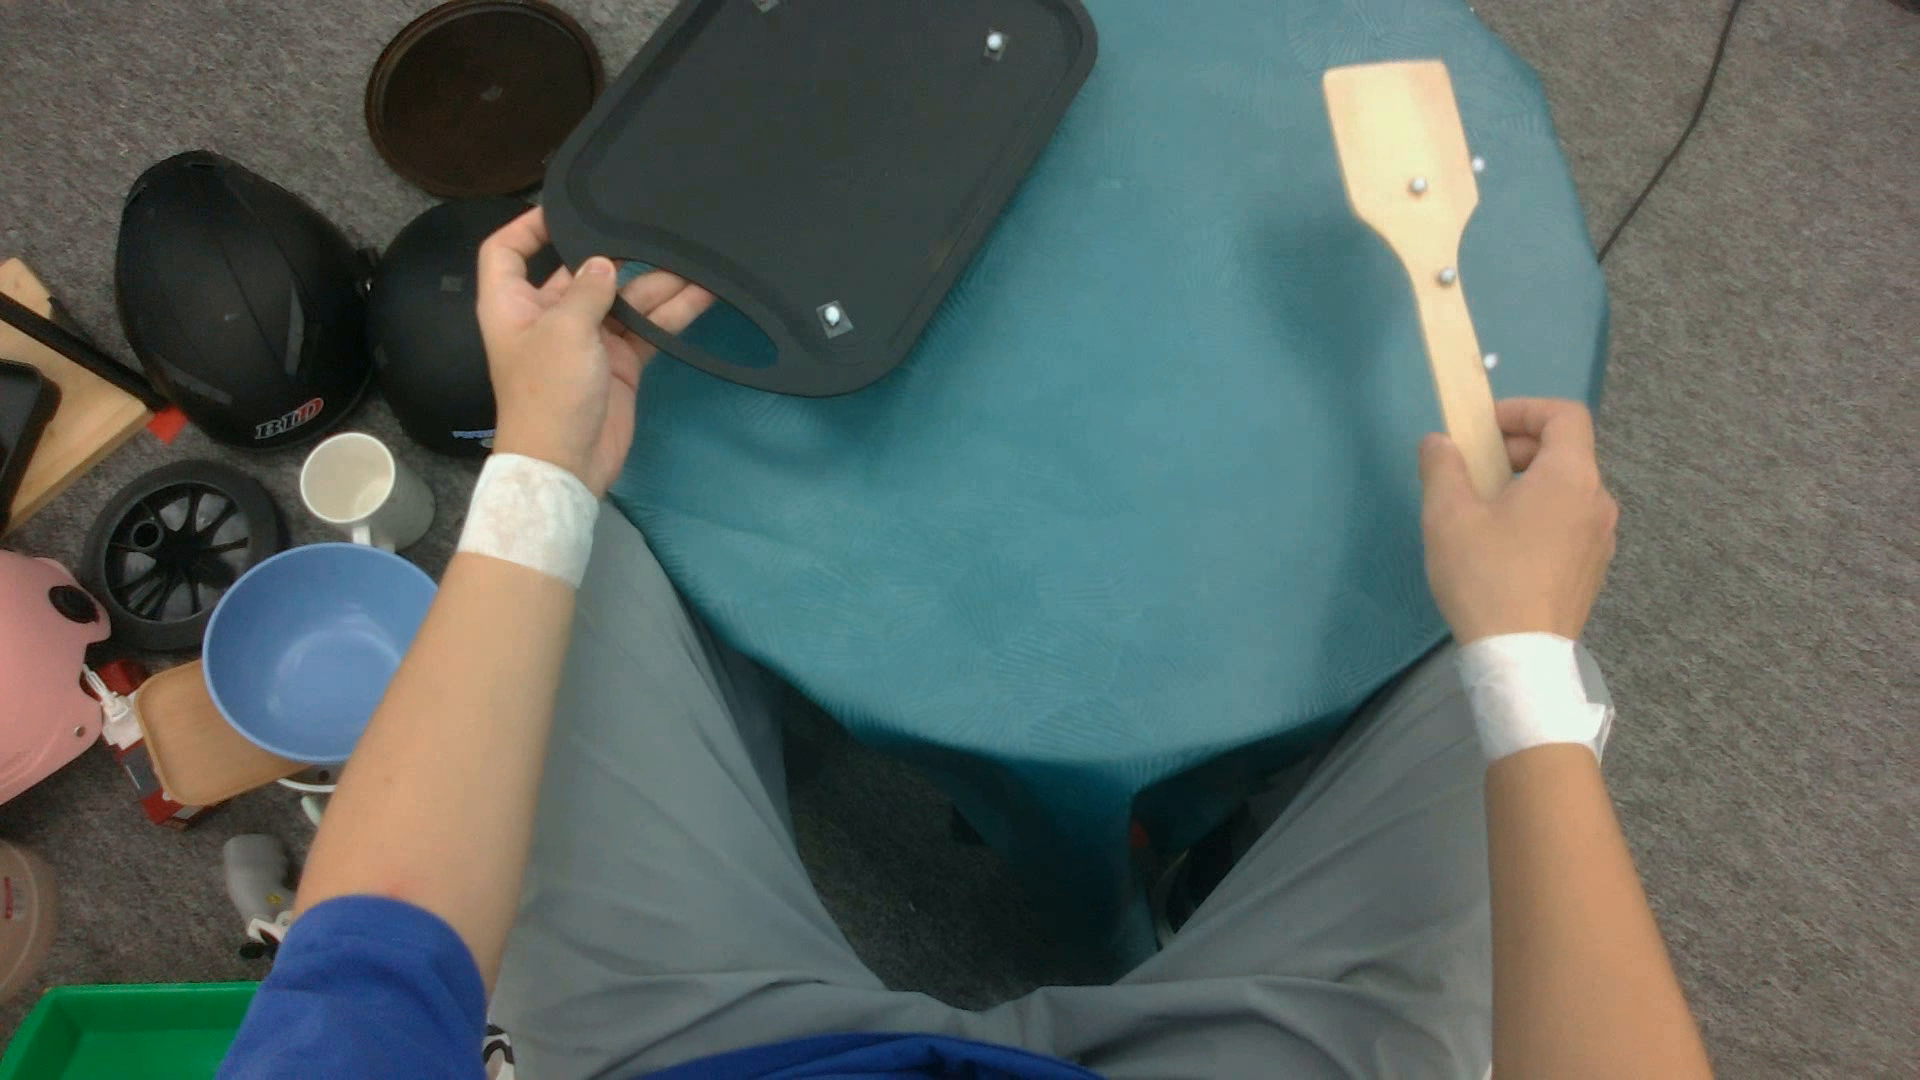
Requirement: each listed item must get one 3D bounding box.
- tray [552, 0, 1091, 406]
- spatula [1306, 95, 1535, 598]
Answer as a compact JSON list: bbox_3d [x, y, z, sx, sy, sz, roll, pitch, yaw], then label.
[{"bbox_3d":[-0.073,-0.222,0.770,0.211,0.010,0.326,30,68,4],"label":"tray"},{"bbox_3d":[0.250,-0.109,0.725,0.072,0.010,0.293,-8,71,-6],"label":"spatula"}]
